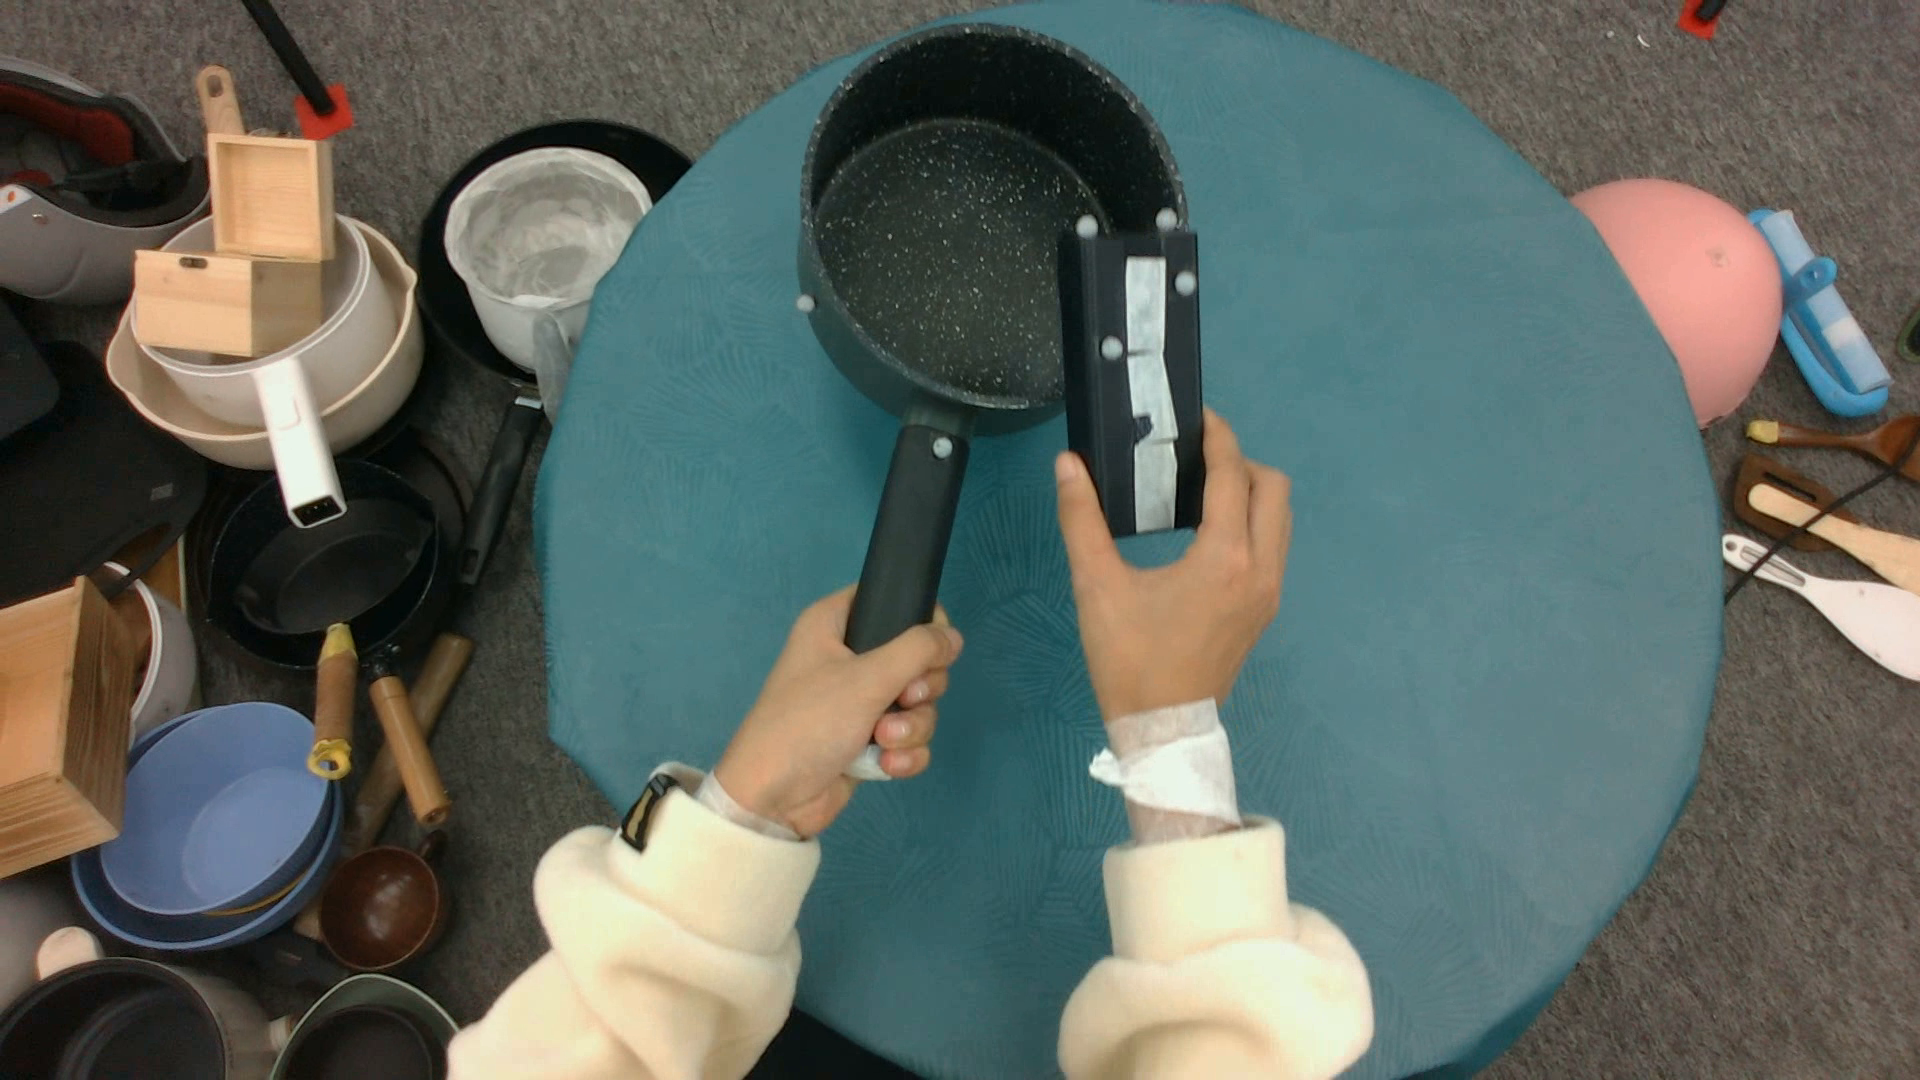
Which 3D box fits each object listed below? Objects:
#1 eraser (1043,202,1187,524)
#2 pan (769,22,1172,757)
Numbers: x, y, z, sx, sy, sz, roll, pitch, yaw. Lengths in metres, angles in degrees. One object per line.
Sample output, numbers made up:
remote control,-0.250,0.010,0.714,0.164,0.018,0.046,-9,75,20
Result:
eraser,0.063,-0.072,0.557,0.053,0.030,0.125,-7,103,-18
pan,-0.018,-0.064,0.603,0.172,0.086,0.329,19,74,-8
